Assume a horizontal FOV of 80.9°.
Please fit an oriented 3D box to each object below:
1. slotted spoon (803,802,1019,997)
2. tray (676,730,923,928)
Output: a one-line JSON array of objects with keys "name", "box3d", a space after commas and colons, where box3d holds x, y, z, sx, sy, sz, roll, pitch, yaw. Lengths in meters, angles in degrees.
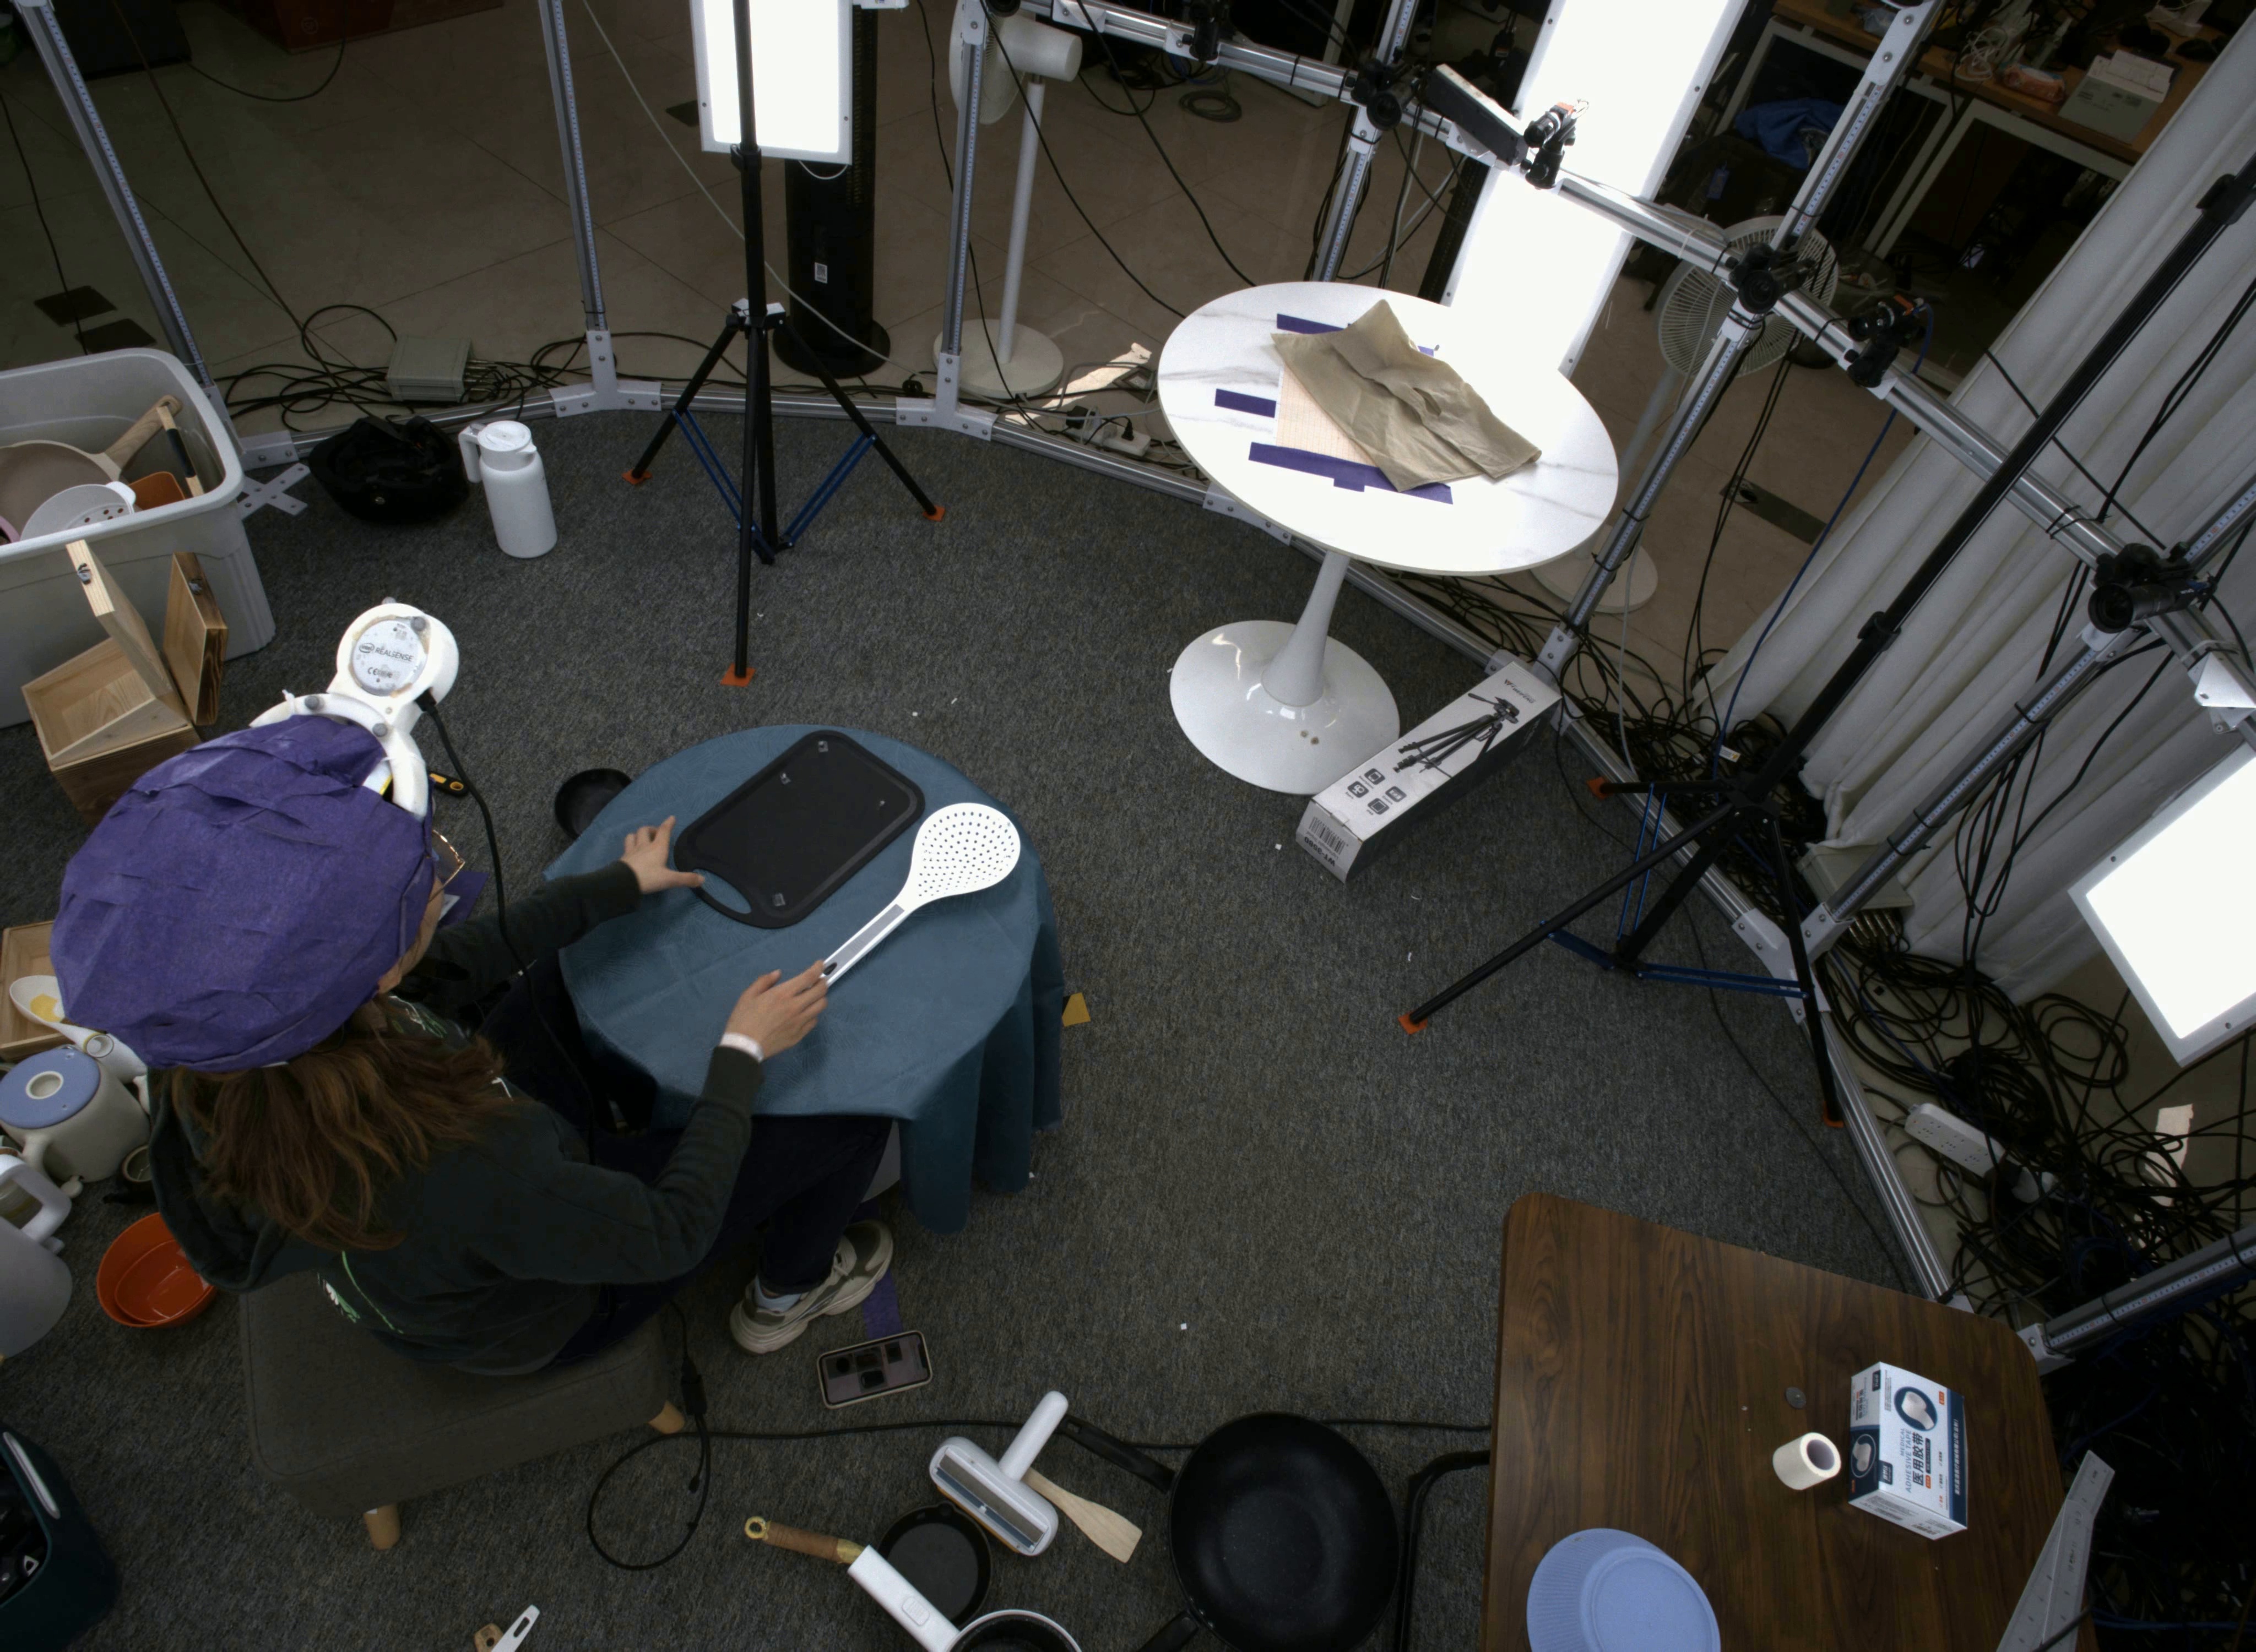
[{"name": "slotted spoon", "box3d": [-0.280, 0.093, 1.667, 0.133, 0.047, 0.350, 36, 54, 16]}, {"name": "tray", "box3d": [-0.437, 0.000, 1.721, 0.207, 0.010, 0.325, 35, 54, 13]}]
